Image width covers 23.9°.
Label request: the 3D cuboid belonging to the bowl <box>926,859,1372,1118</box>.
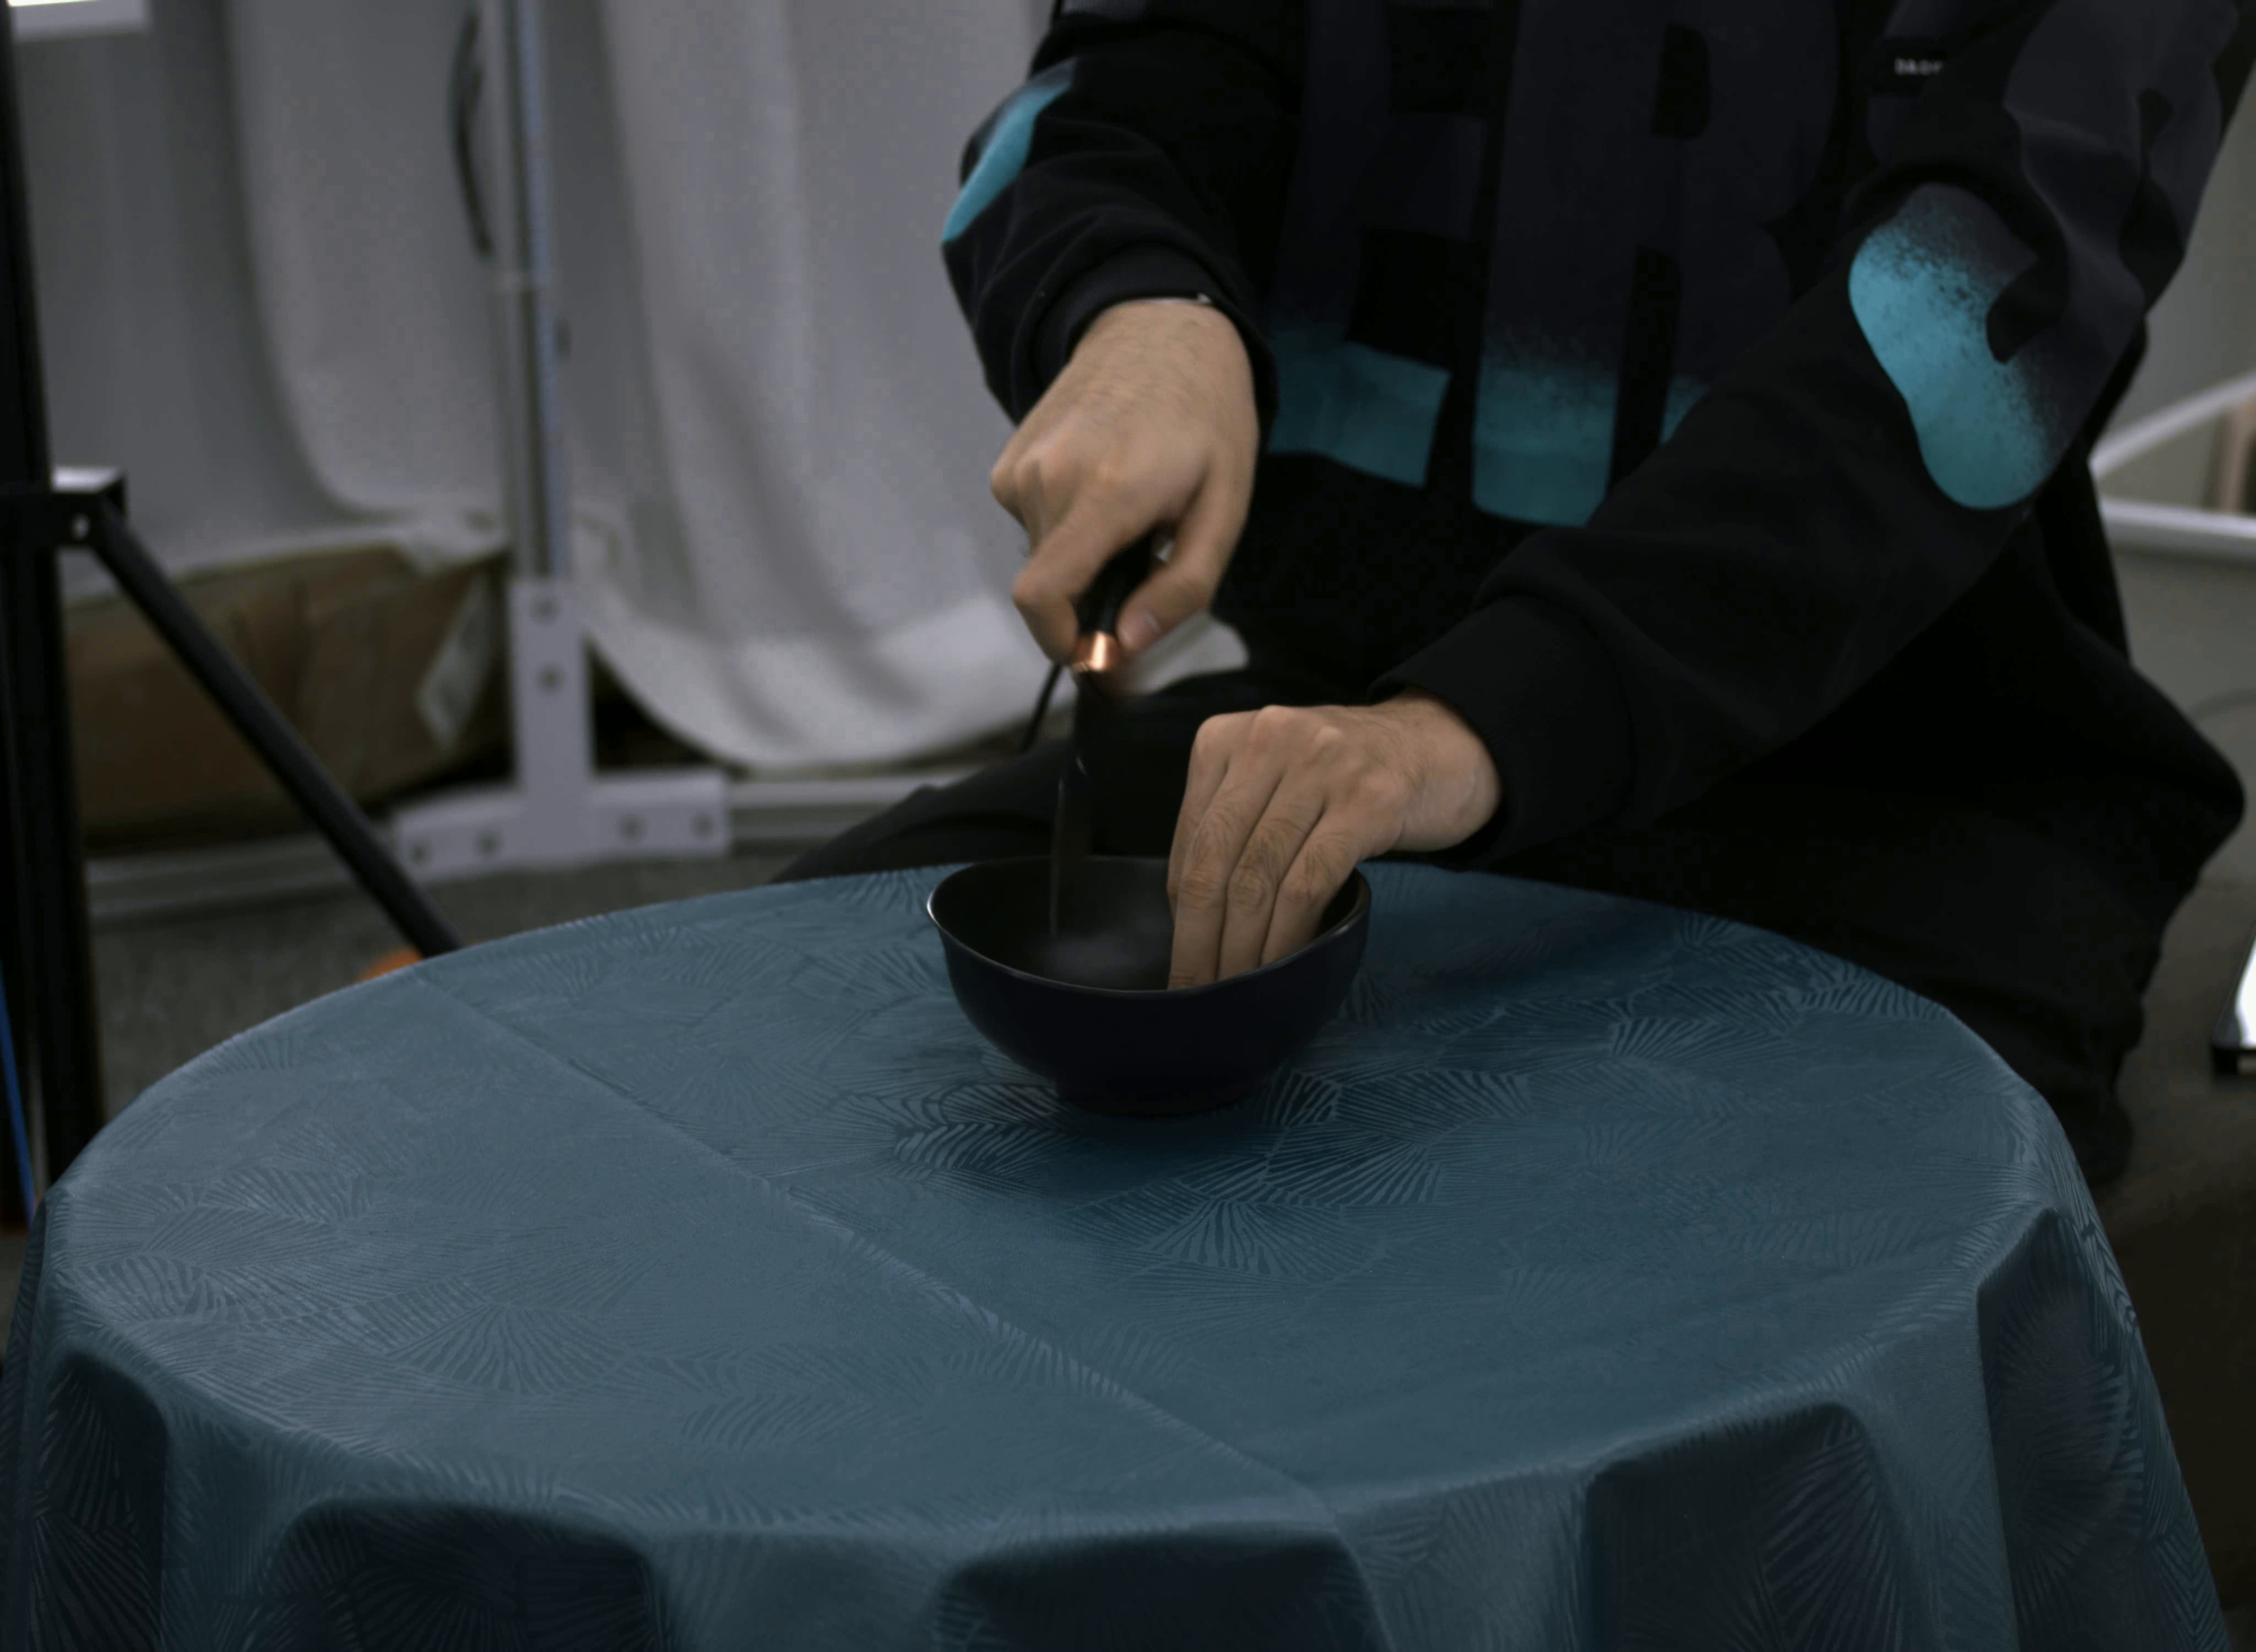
[{"bbox_3d":[0.008,0.051,1.641,0.137,0.067,0.170,-1,14,4],"label":"bowl"}]

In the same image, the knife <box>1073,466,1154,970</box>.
[{"bbox_3d":[-0.007,-0.036,1.700,0.017,0.026,0.227,-23,38,25],"label":"knife"}]
